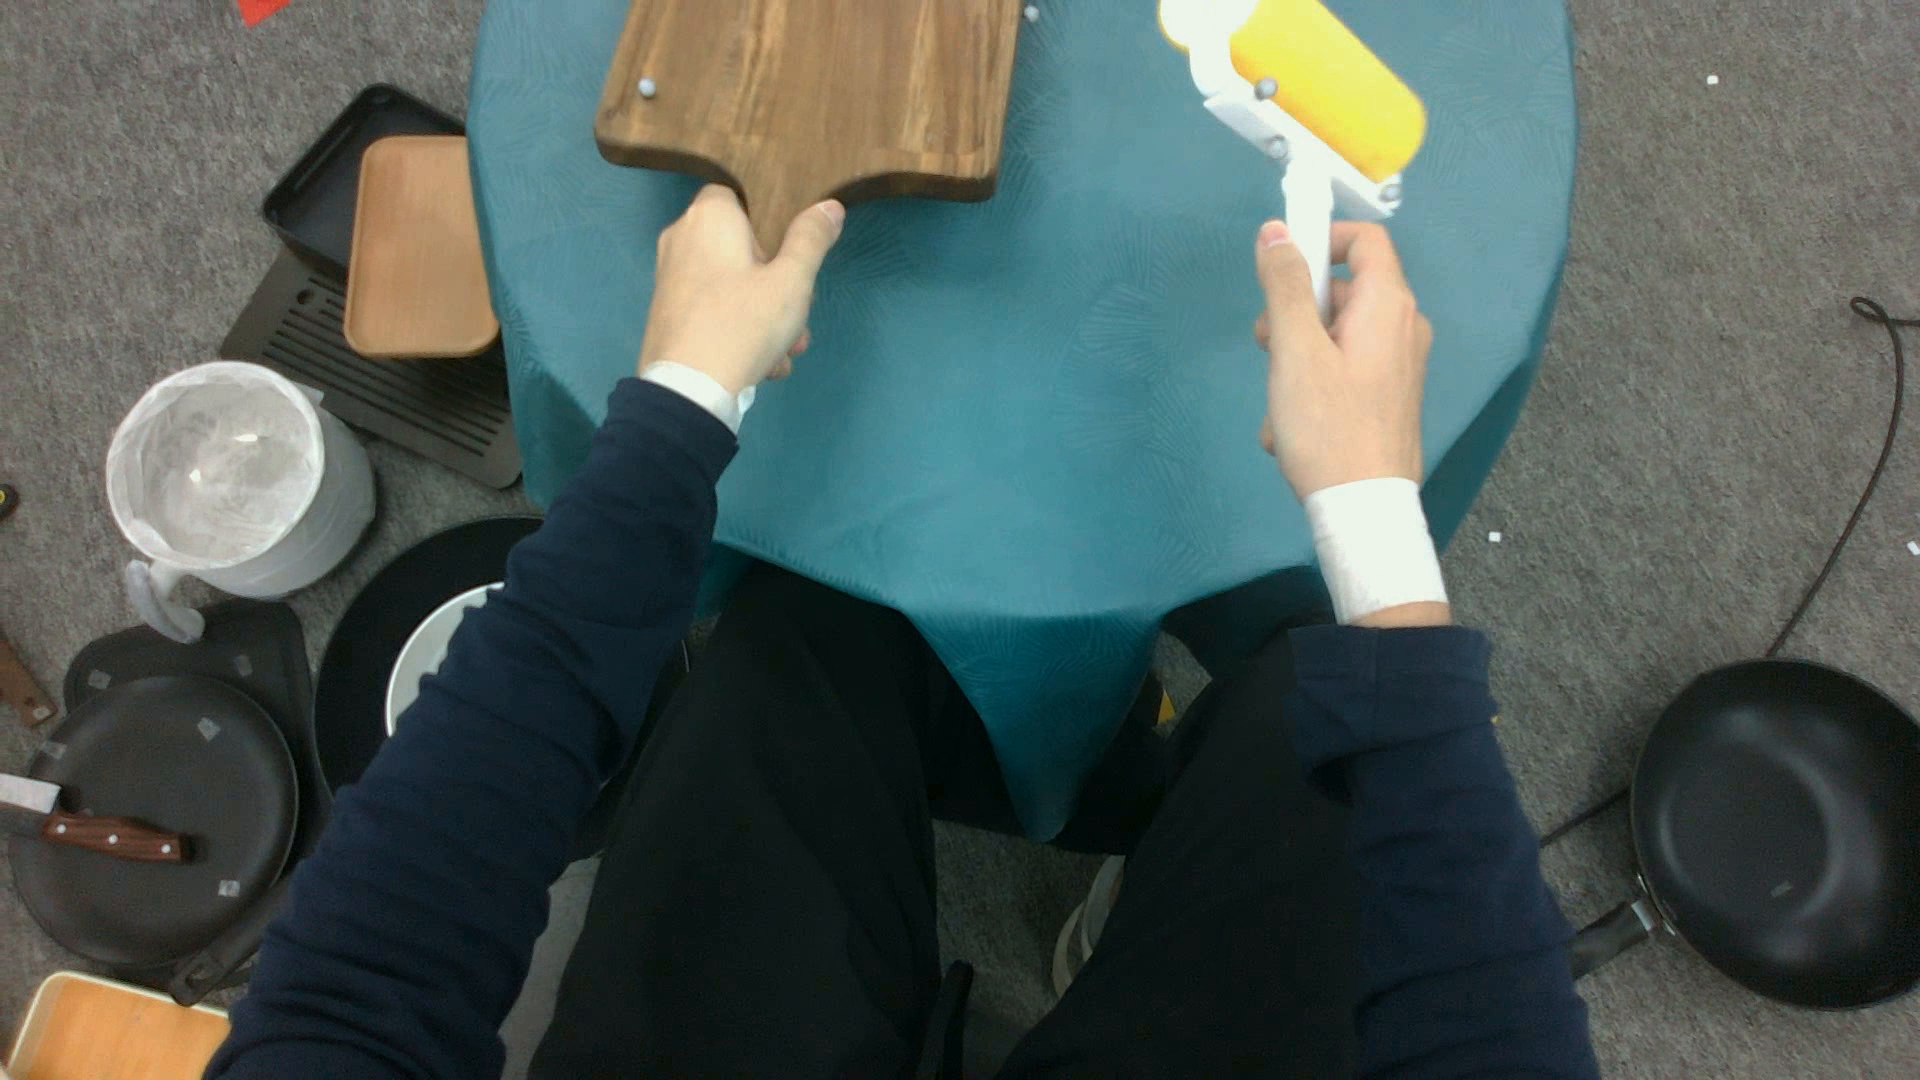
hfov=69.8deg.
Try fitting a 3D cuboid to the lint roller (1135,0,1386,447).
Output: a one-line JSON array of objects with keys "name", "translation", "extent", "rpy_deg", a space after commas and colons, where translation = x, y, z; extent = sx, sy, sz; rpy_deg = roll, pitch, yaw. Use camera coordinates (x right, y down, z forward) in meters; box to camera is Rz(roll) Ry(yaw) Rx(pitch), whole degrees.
[{"name": "lint roller", "translation": [0.145, -0.137, 0.578], "extent": [0.051, 0.174, 0.192], "rpy_deg": [-19, 74, 33]}]

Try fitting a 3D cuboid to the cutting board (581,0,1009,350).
[{"name": "cutting board", "translation": [-0.079, -0.245, 0.694], "extent": [0.201, 0.023, 0.353], "rpy_deg": [5, 62, 3]}]
